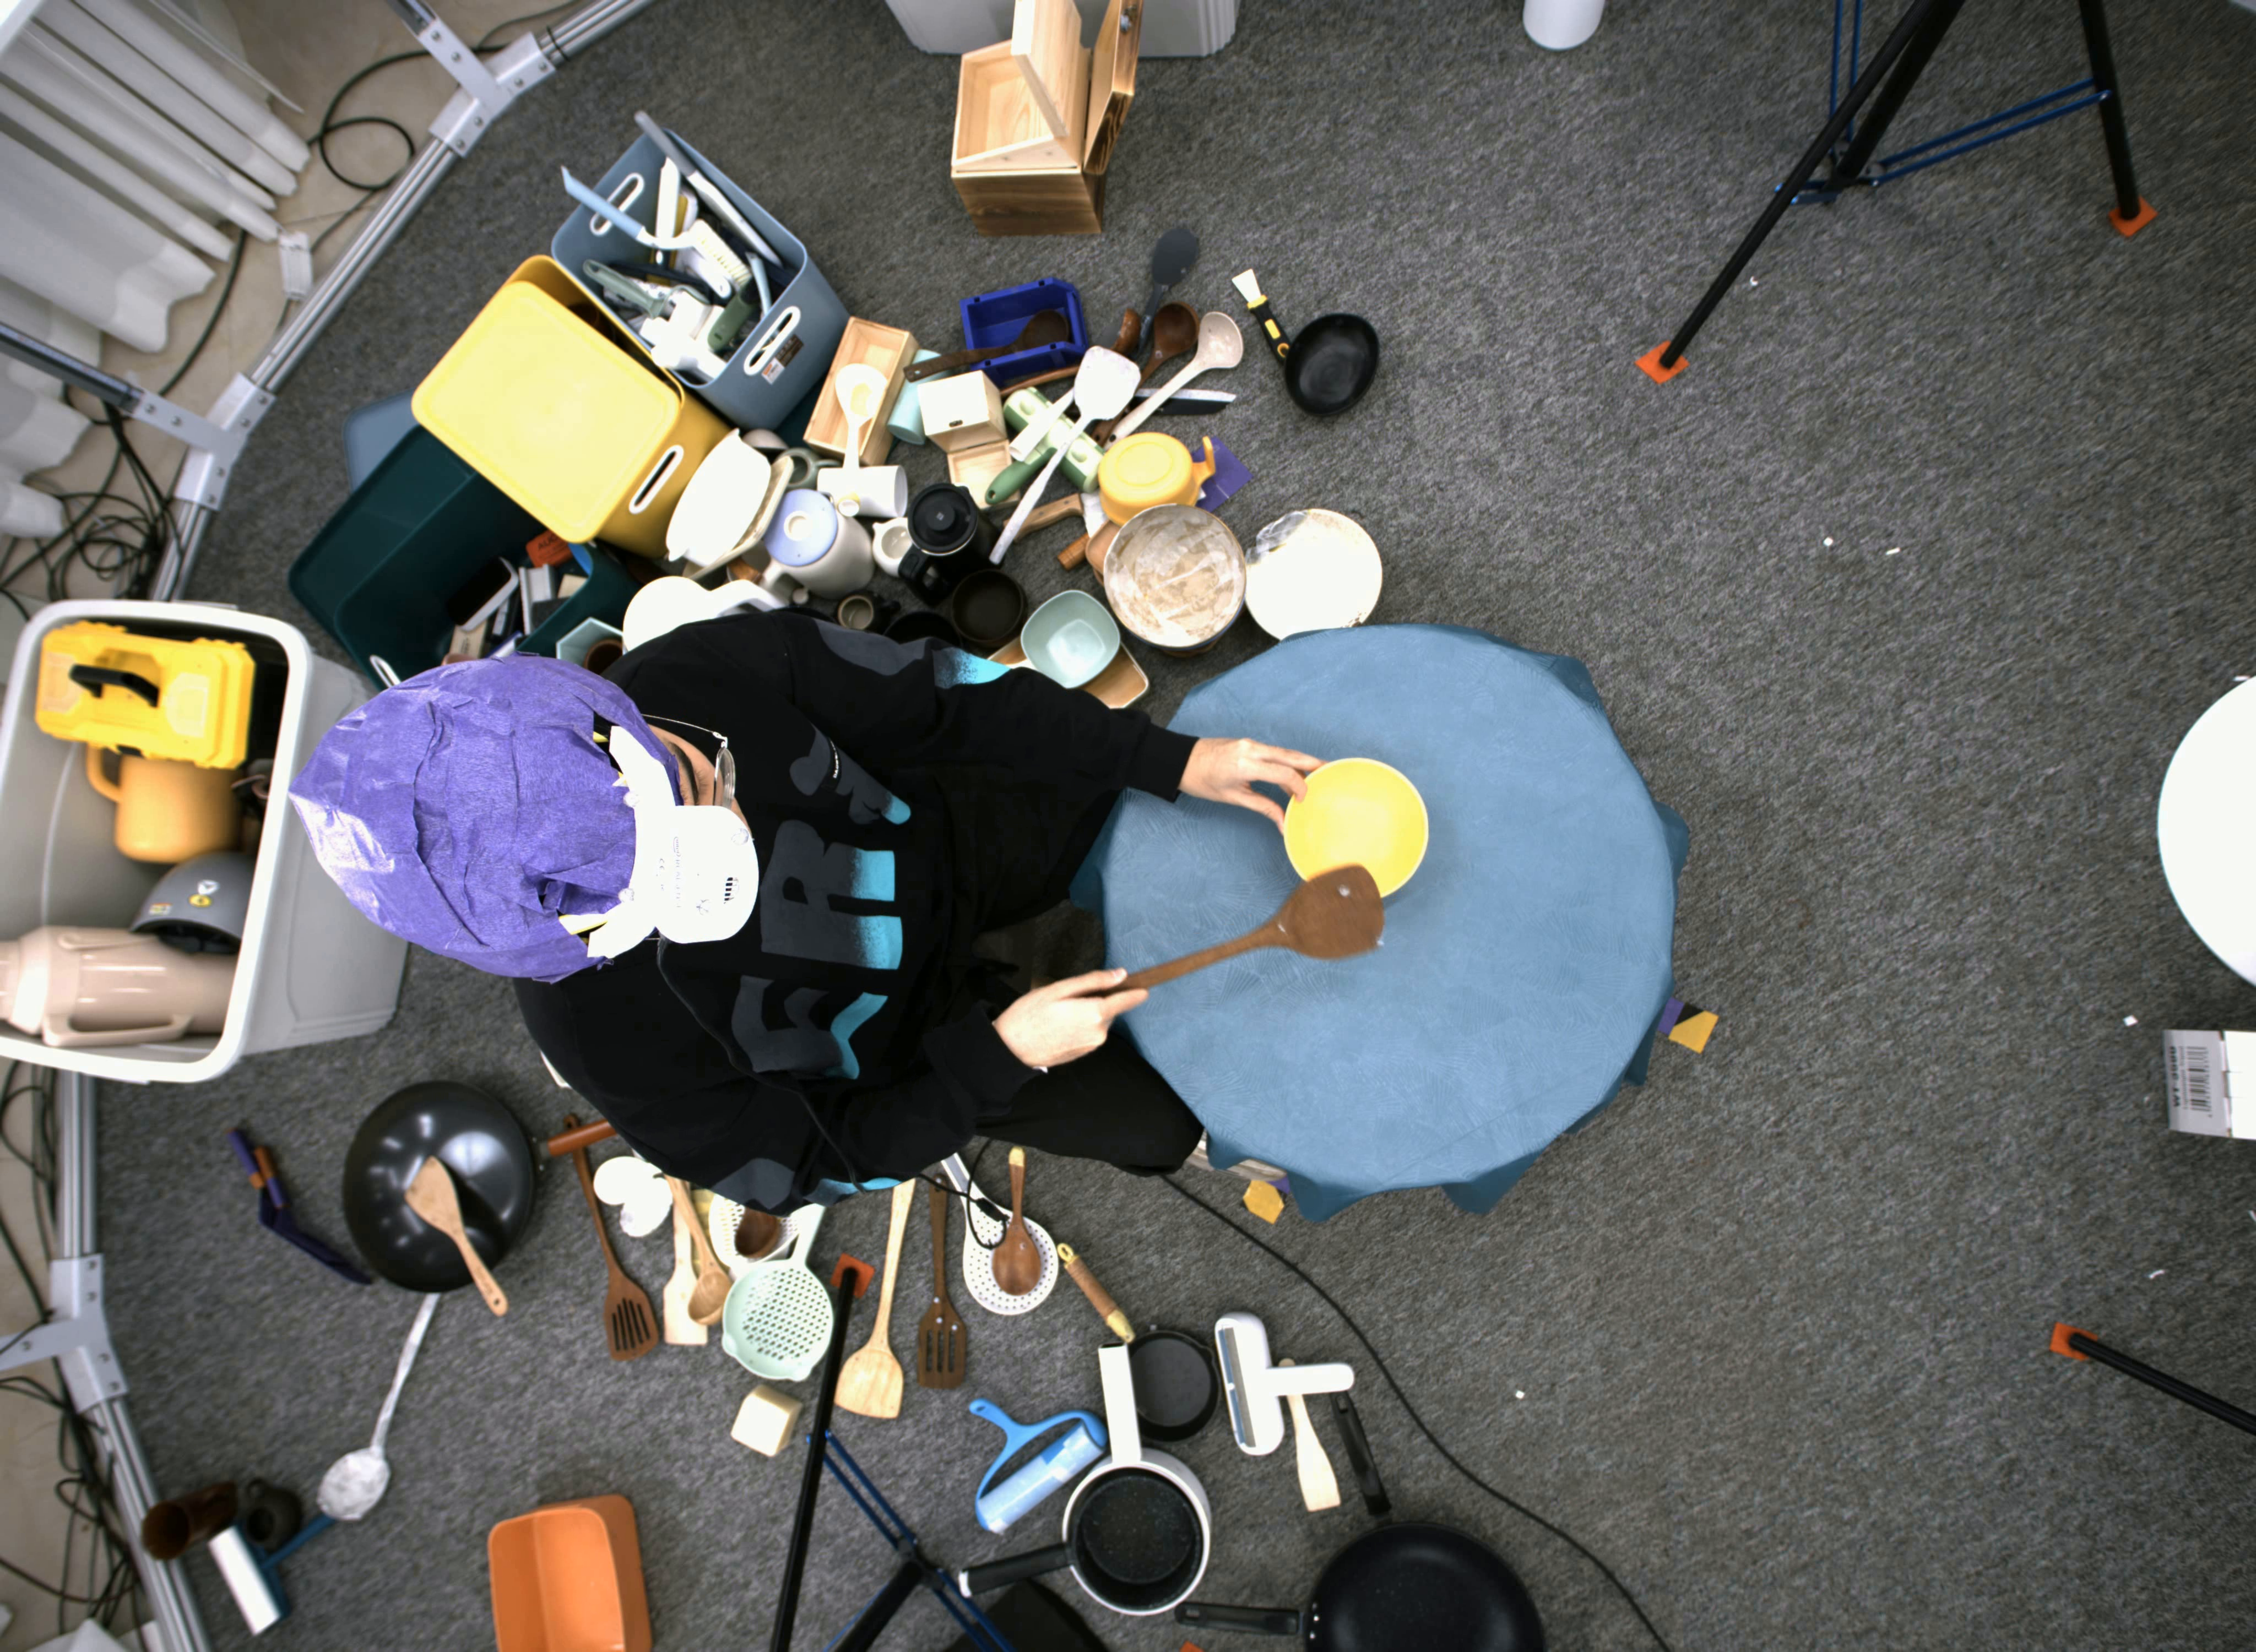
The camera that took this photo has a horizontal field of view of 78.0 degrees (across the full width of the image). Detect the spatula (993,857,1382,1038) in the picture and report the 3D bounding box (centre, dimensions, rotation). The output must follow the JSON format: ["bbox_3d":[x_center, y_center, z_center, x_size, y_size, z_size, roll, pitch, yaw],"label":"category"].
[{"bbox_3d":[0.058,0.126,1.306,0.385,0.015,0.097,-19,113,-4],"label":"spatula"}]

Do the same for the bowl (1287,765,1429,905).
[{"bbox_3d":[0.235,0.011,1.420,0.146,0.060,0.144,-1,86,8],"label":"bowl"}]
